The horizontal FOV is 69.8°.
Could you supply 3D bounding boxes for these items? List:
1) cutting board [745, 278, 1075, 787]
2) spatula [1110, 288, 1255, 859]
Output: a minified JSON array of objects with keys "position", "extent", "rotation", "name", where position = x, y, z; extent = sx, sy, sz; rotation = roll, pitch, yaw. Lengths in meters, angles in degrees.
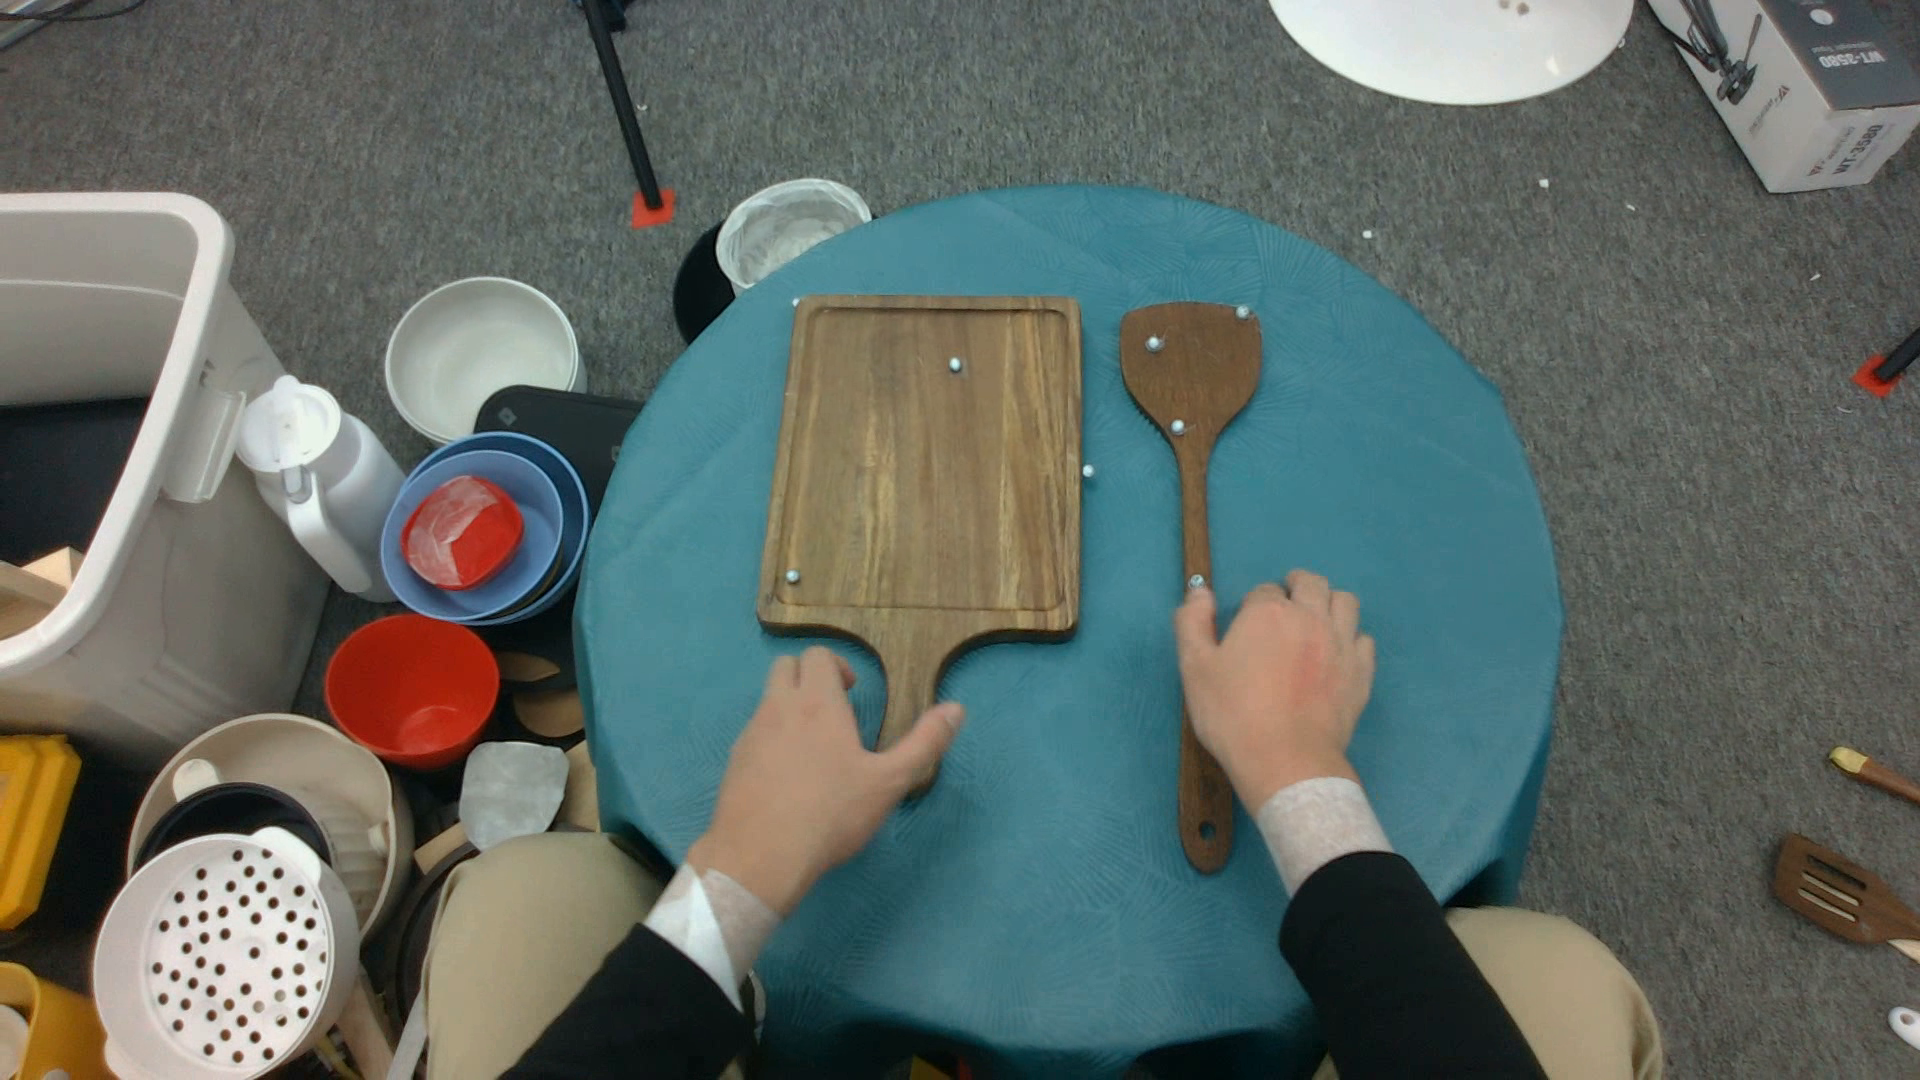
[{"position":[-0.029,-0.019,0.857],"extent":[0.201,0.023,0.353],"rotation":[1,62,3],"name":"cutting board"},{"position":[0.141,0.002,0.842],"extent":[0.096,0.016,0.387],"rotation":[1,62,4],"name":"spatula"}]
